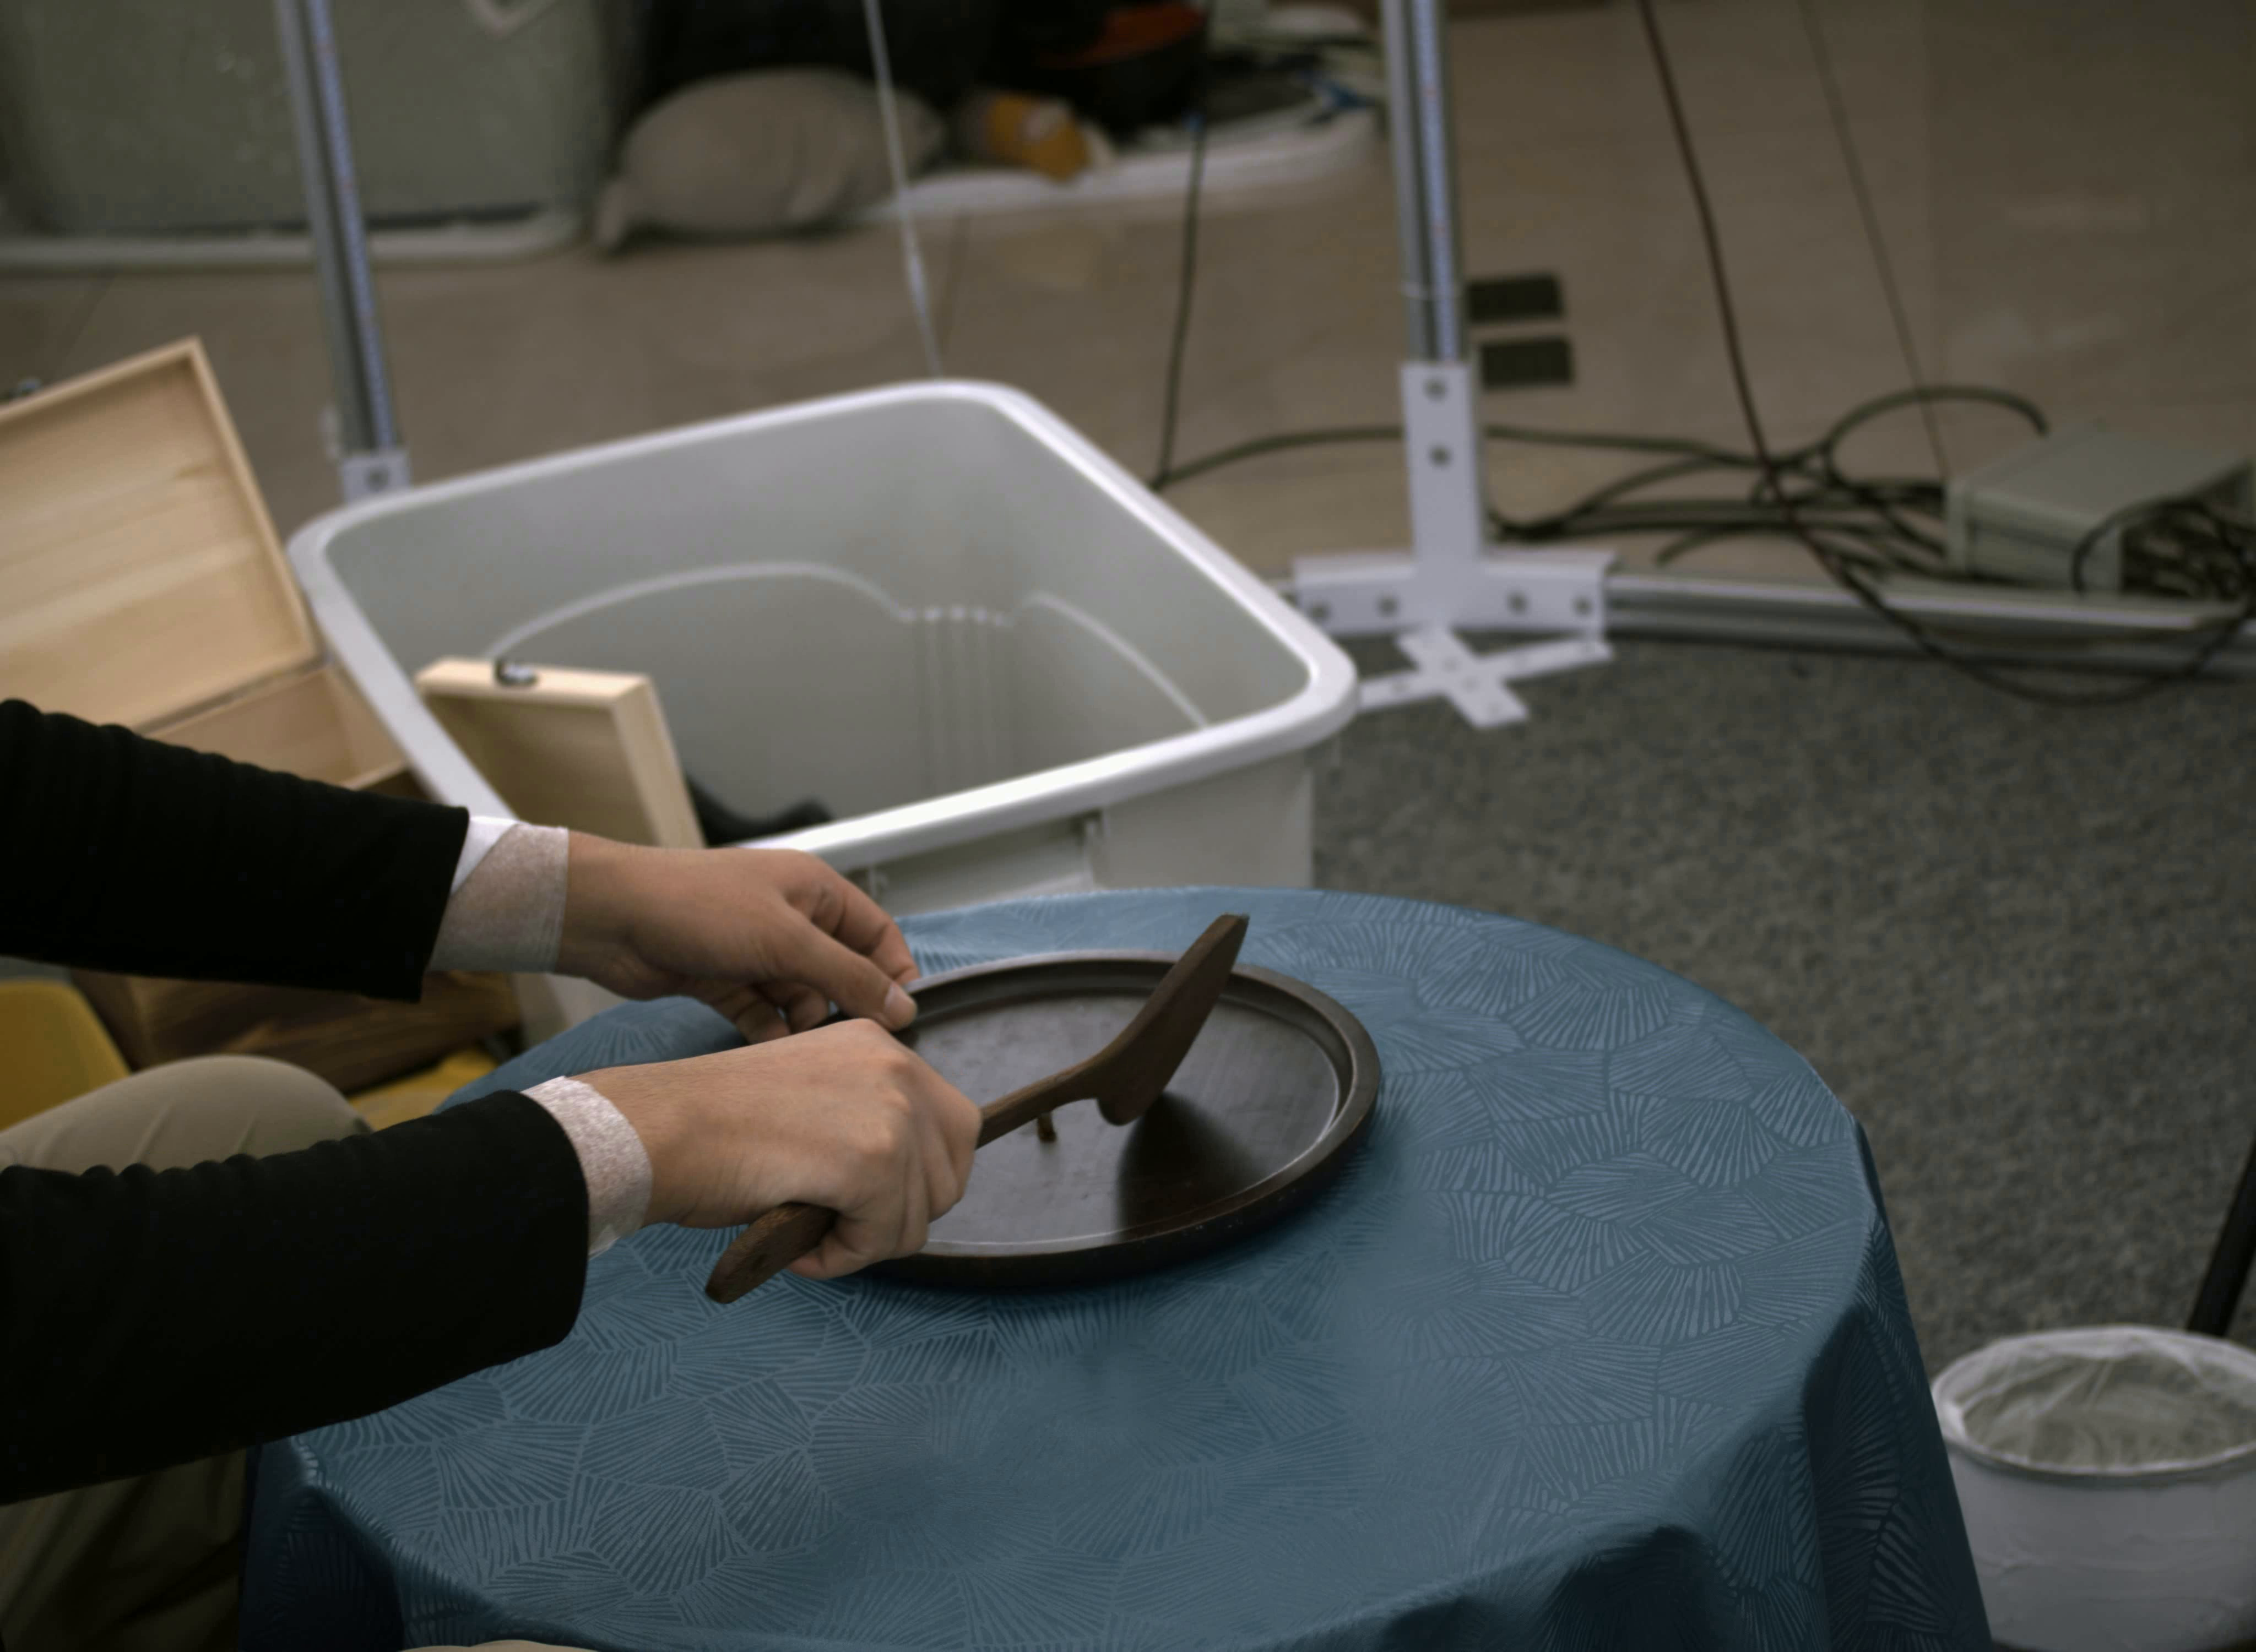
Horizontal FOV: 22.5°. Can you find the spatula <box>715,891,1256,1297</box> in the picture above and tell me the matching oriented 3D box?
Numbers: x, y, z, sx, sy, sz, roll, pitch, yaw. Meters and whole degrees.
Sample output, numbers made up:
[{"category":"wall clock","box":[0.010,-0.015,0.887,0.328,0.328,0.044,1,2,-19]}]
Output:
[{"category":"spatula","box":[-0.047,0.103,2.023,0.015,0.097,0.383,33,26,18]}]

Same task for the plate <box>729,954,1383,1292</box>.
[{"category":"plate","box":[-0.027,0.112,2.184,0.254,0.029,0.251,-5,26,3]}]
